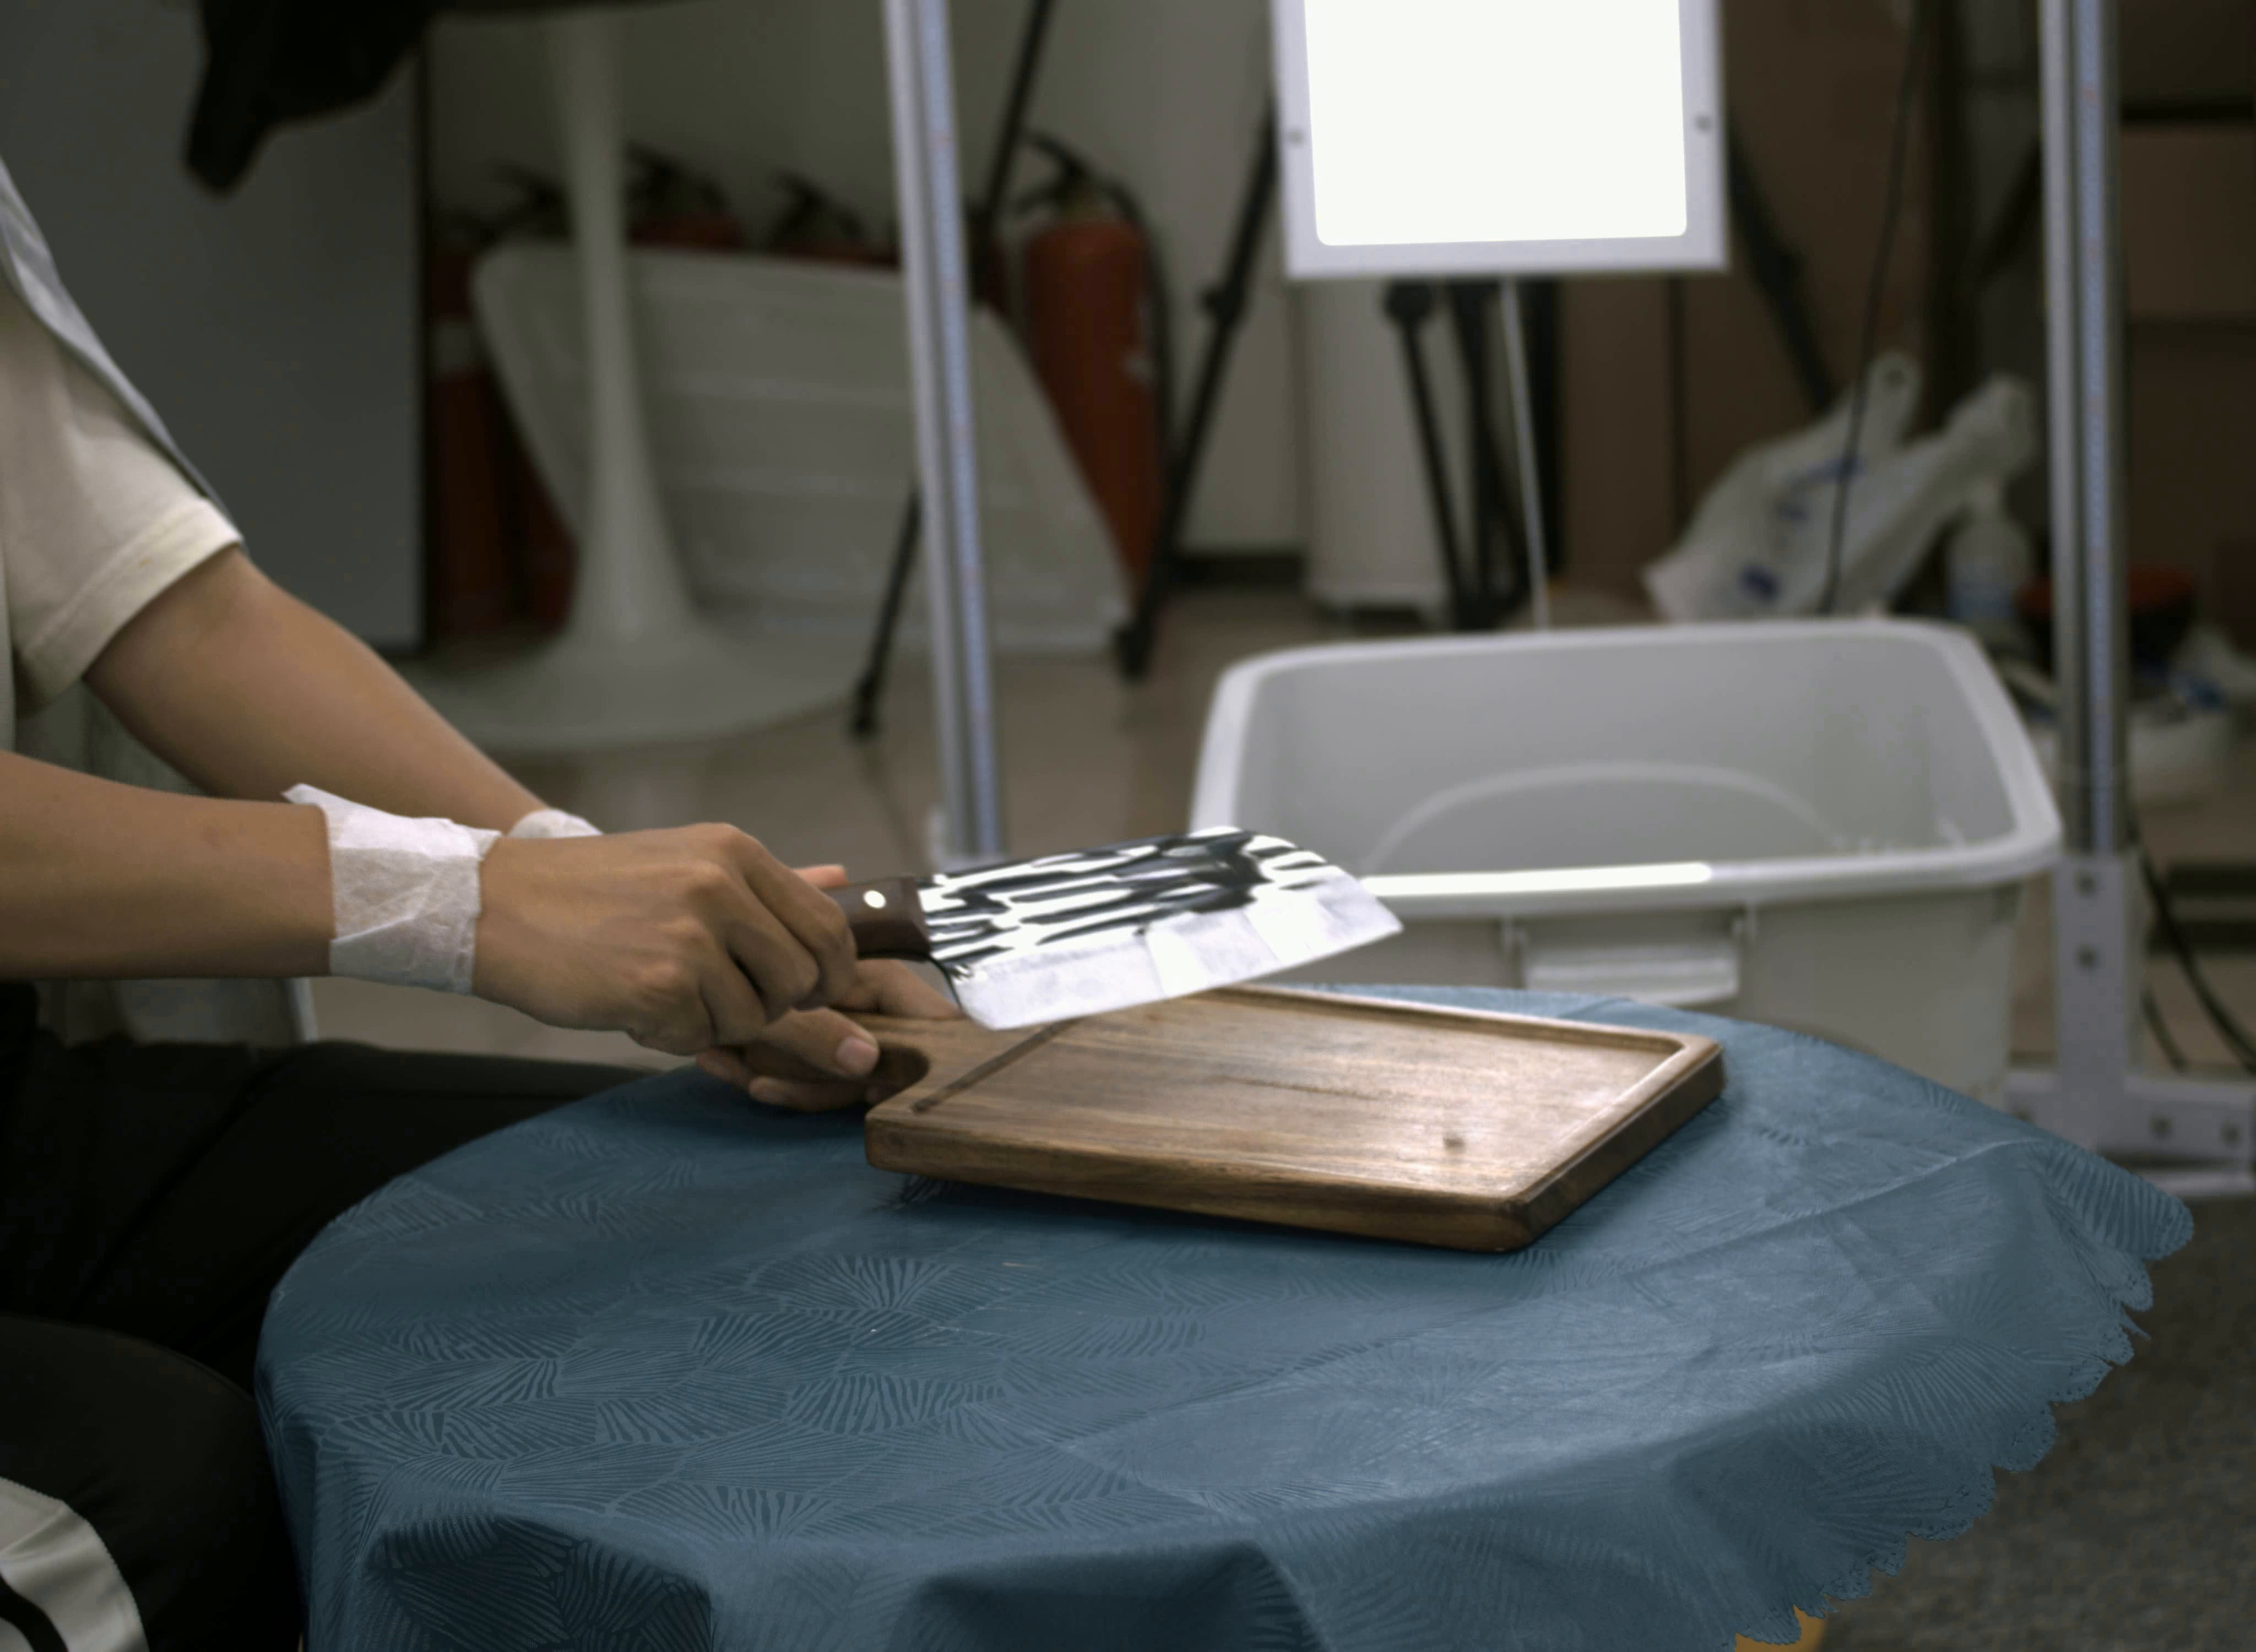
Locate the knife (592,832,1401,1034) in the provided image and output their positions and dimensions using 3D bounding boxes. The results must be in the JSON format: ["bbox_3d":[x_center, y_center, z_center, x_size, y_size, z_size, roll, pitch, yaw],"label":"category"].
[{"bbox_3d":[-0.041,0.041,1.919,0.293,0.024,0.068,-9,57,-25],"label":"knife"}]

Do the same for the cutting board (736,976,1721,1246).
[{"bbox_3d":[0.016,0.092,1.953,0.358,0.023,0.196,5,16,28],"label":"cutting board"}]
